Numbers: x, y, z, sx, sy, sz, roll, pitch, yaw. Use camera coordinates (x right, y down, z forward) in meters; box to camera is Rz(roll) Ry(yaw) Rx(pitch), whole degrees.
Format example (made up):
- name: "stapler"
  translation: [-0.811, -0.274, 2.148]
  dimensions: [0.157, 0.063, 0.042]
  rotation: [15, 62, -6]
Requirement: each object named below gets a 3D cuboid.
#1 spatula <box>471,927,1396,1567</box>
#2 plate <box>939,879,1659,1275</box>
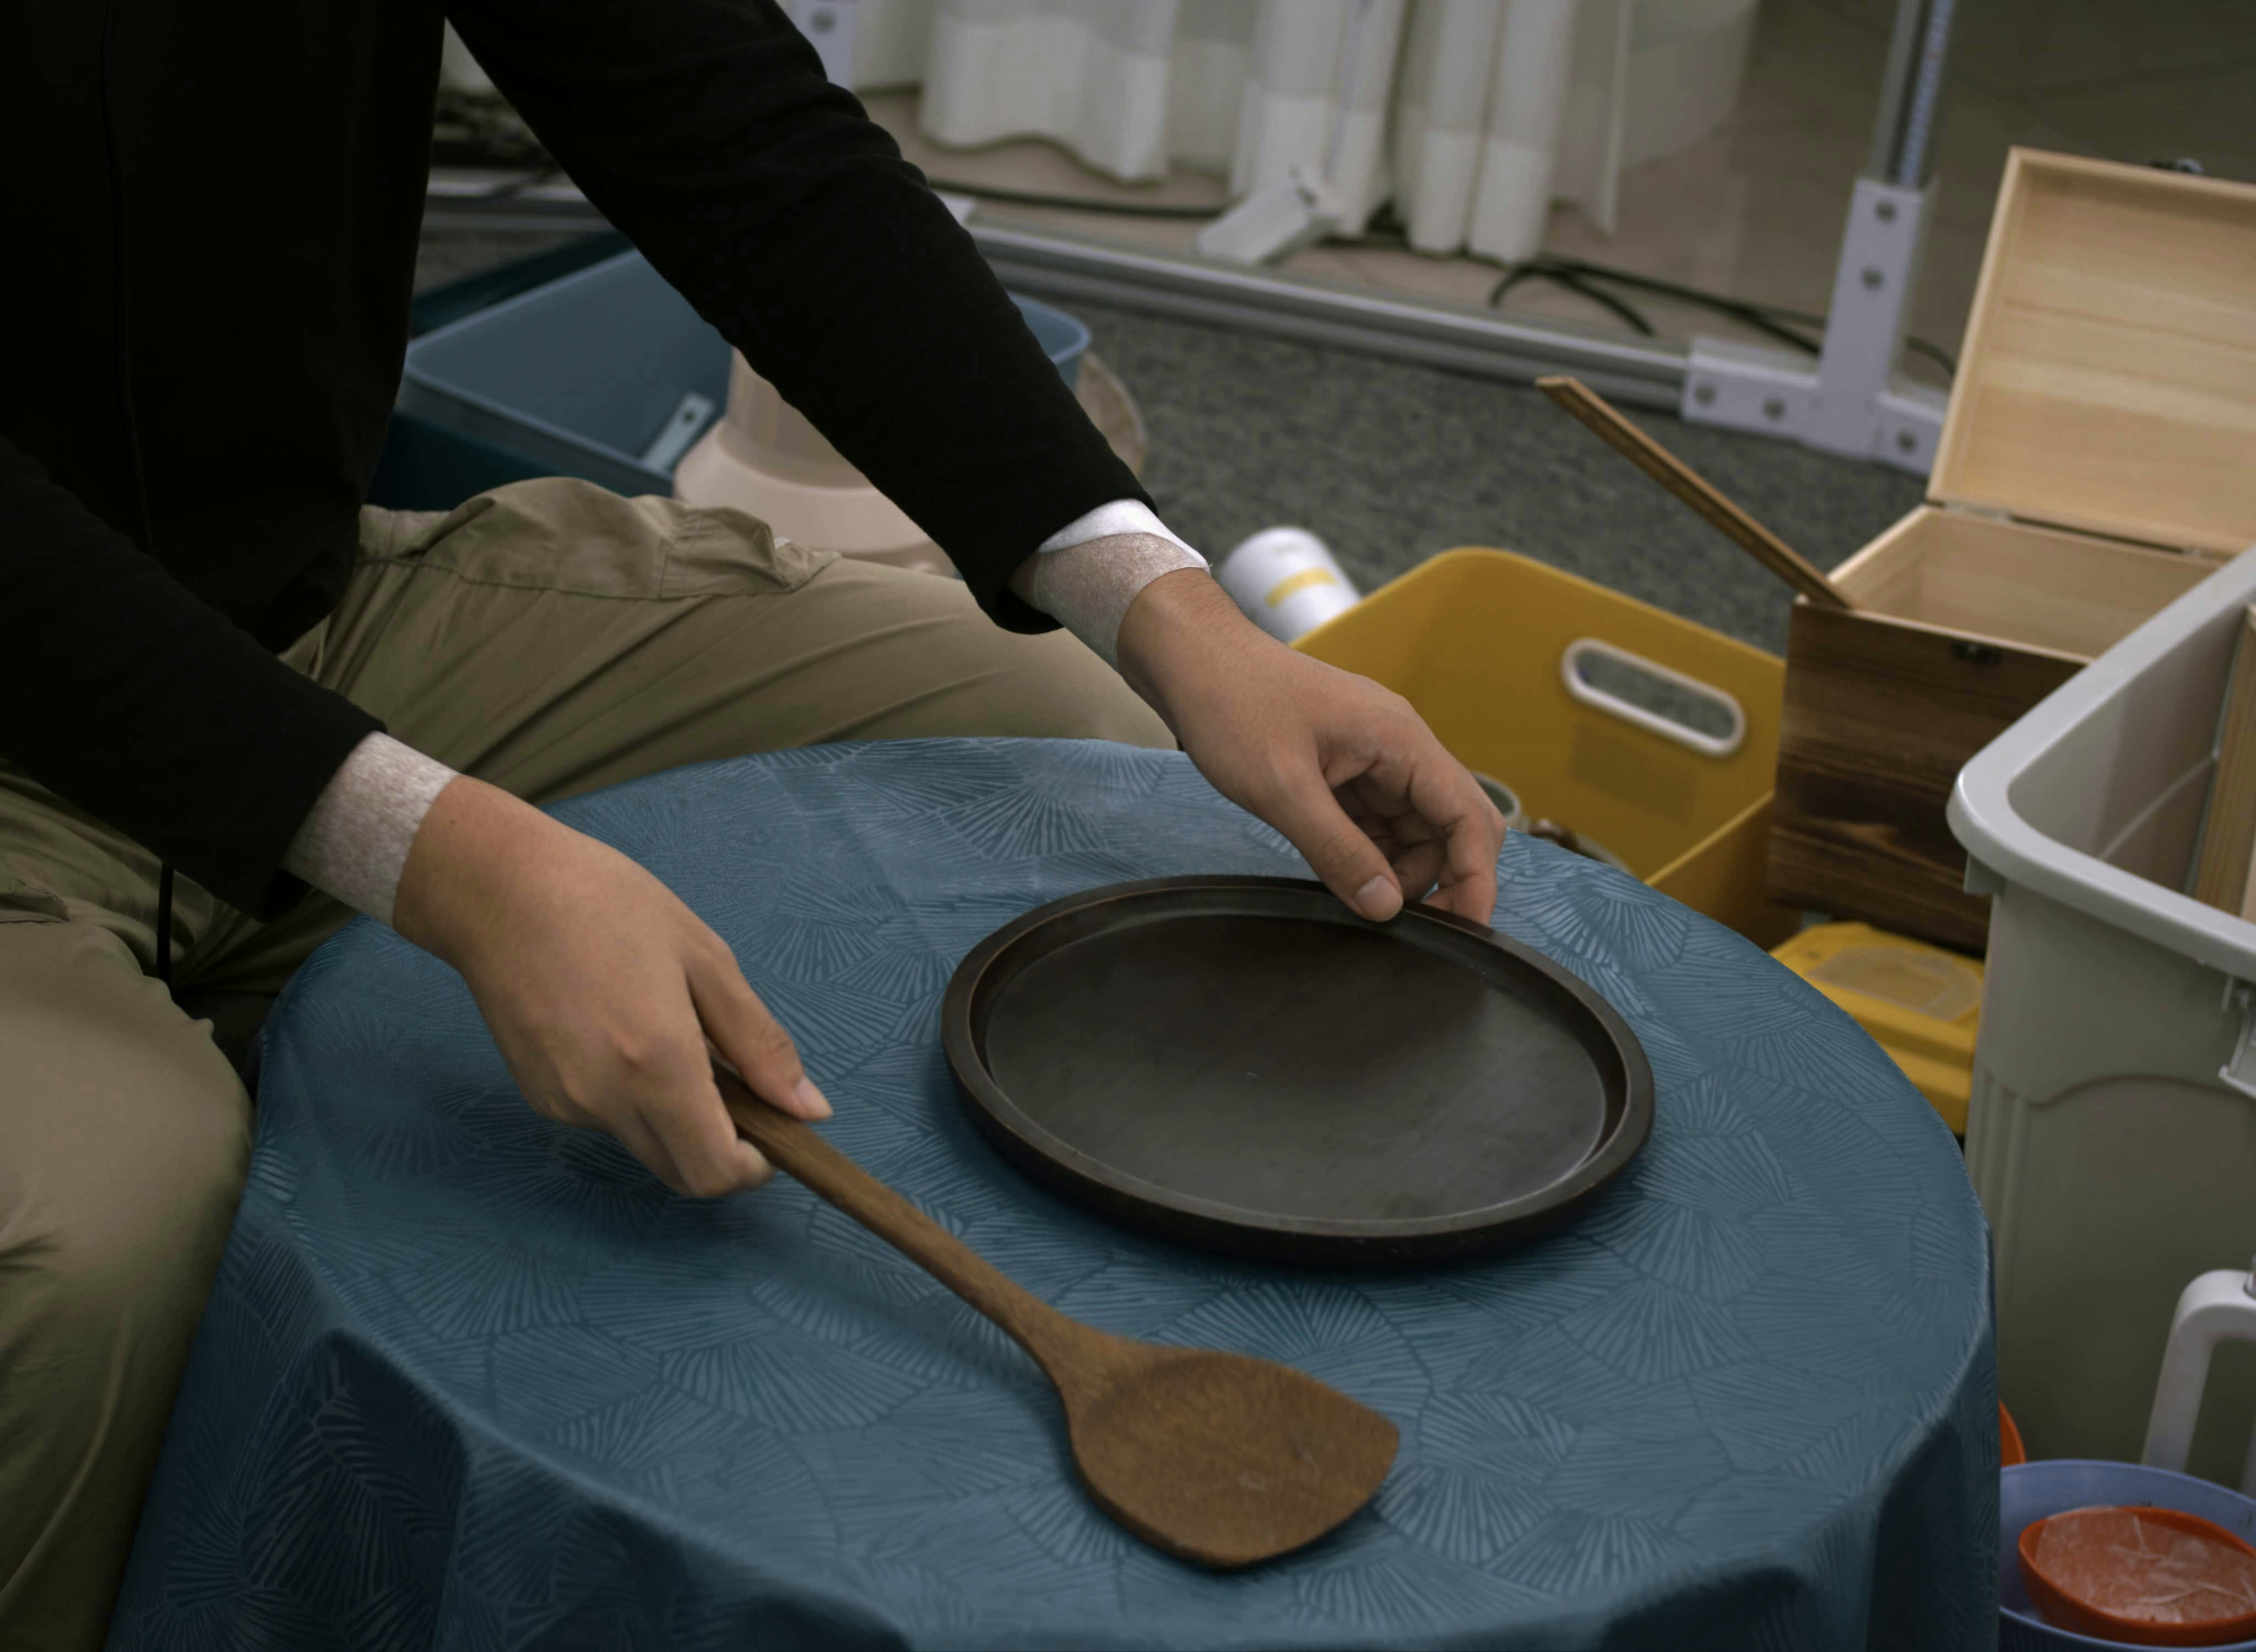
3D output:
- name: "spatula"
  translation: [-0.079, 0.124, 1.719]
  dimensions: [0.388, 0.016, 0.096]
  rotation: [32, 46, 30]
- name: "plate"
  translation: [0.059, 0.085, 1.864]
  dimensions: [0.254, 0.029, 0.256]
  rotation: [5, 28, -3]
